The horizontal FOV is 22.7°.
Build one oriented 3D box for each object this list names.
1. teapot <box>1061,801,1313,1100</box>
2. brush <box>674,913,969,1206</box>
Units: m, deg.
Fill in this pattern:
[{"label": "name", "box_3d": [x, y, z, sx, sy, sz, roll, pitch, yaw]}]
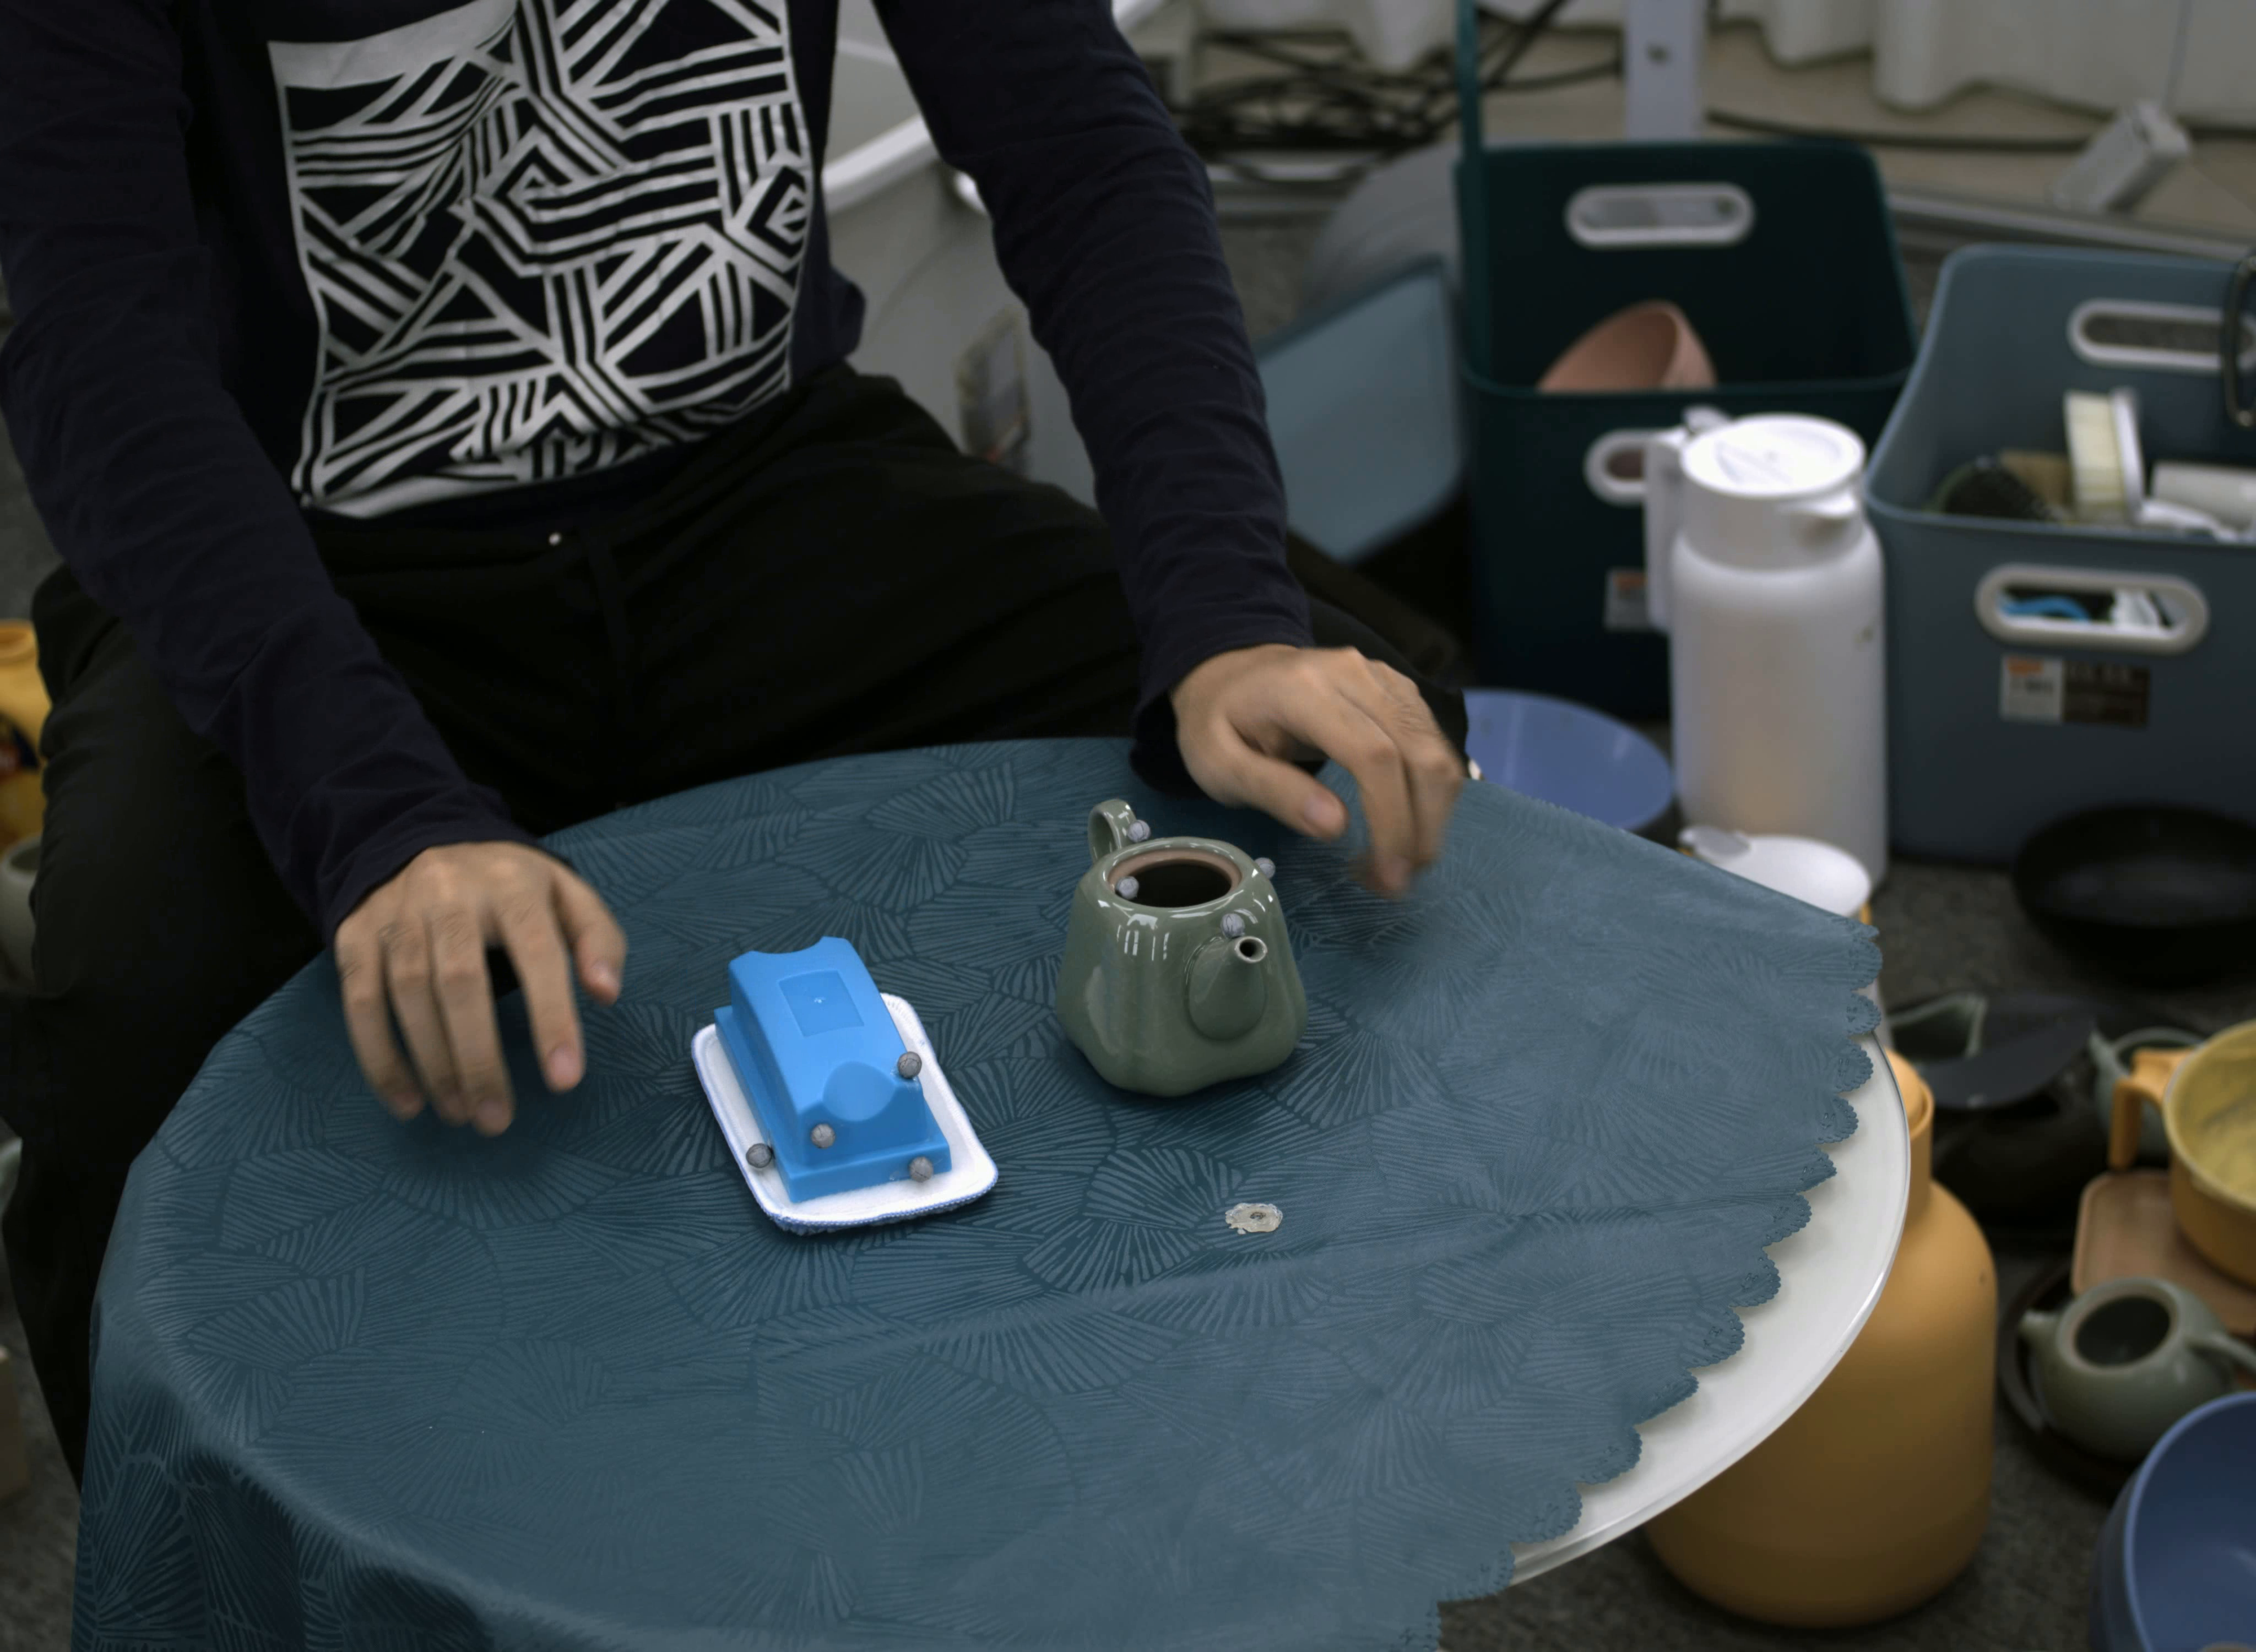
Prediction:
[{"label": "teapot", "box_3d": [0.019, 0.046, 1.925, 0.080, 0.074, 0.133, -14, 28, -20]}, {"label": "brush", "box_3d": [-0.103, 0.074, 1.894, 0.084, 0.055, 0.146, -6, 30, -13]}]
